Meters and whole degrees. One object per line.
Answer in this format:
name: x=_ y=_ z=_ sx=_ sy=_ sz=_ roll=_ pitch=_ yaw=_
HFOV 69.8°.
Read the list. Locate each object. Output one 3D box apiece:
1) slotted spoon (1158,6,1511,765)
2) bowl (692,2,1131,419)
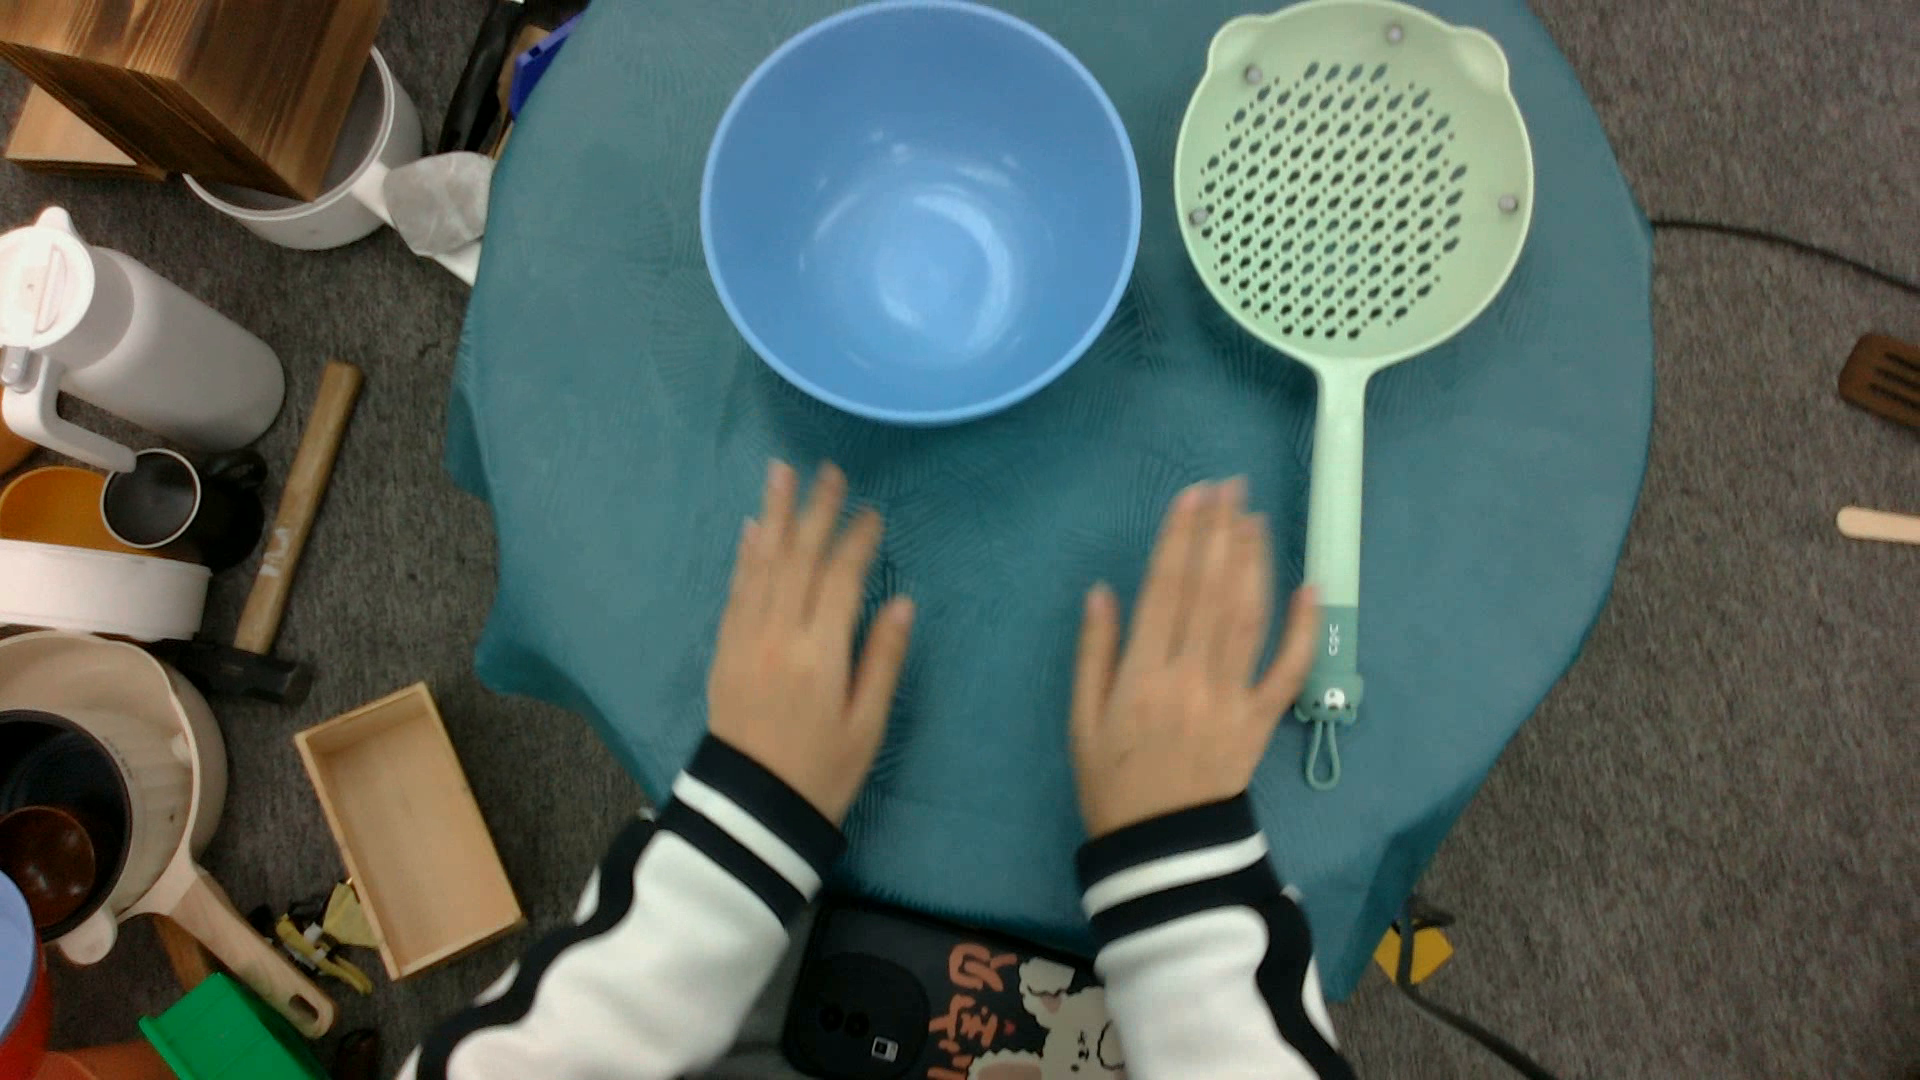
slotted spoon: x=0.173 y=-0.073 z=0.664 sx=0.169 sy=0.075 sz=0.359 roll=3 pitch=80 yaw=0
bowl: x=-0.021 y=-0.143 z=0.659 sx=0.196 sy=0.095 sz=0.197 roll=0 pitch=79 yaw=0
